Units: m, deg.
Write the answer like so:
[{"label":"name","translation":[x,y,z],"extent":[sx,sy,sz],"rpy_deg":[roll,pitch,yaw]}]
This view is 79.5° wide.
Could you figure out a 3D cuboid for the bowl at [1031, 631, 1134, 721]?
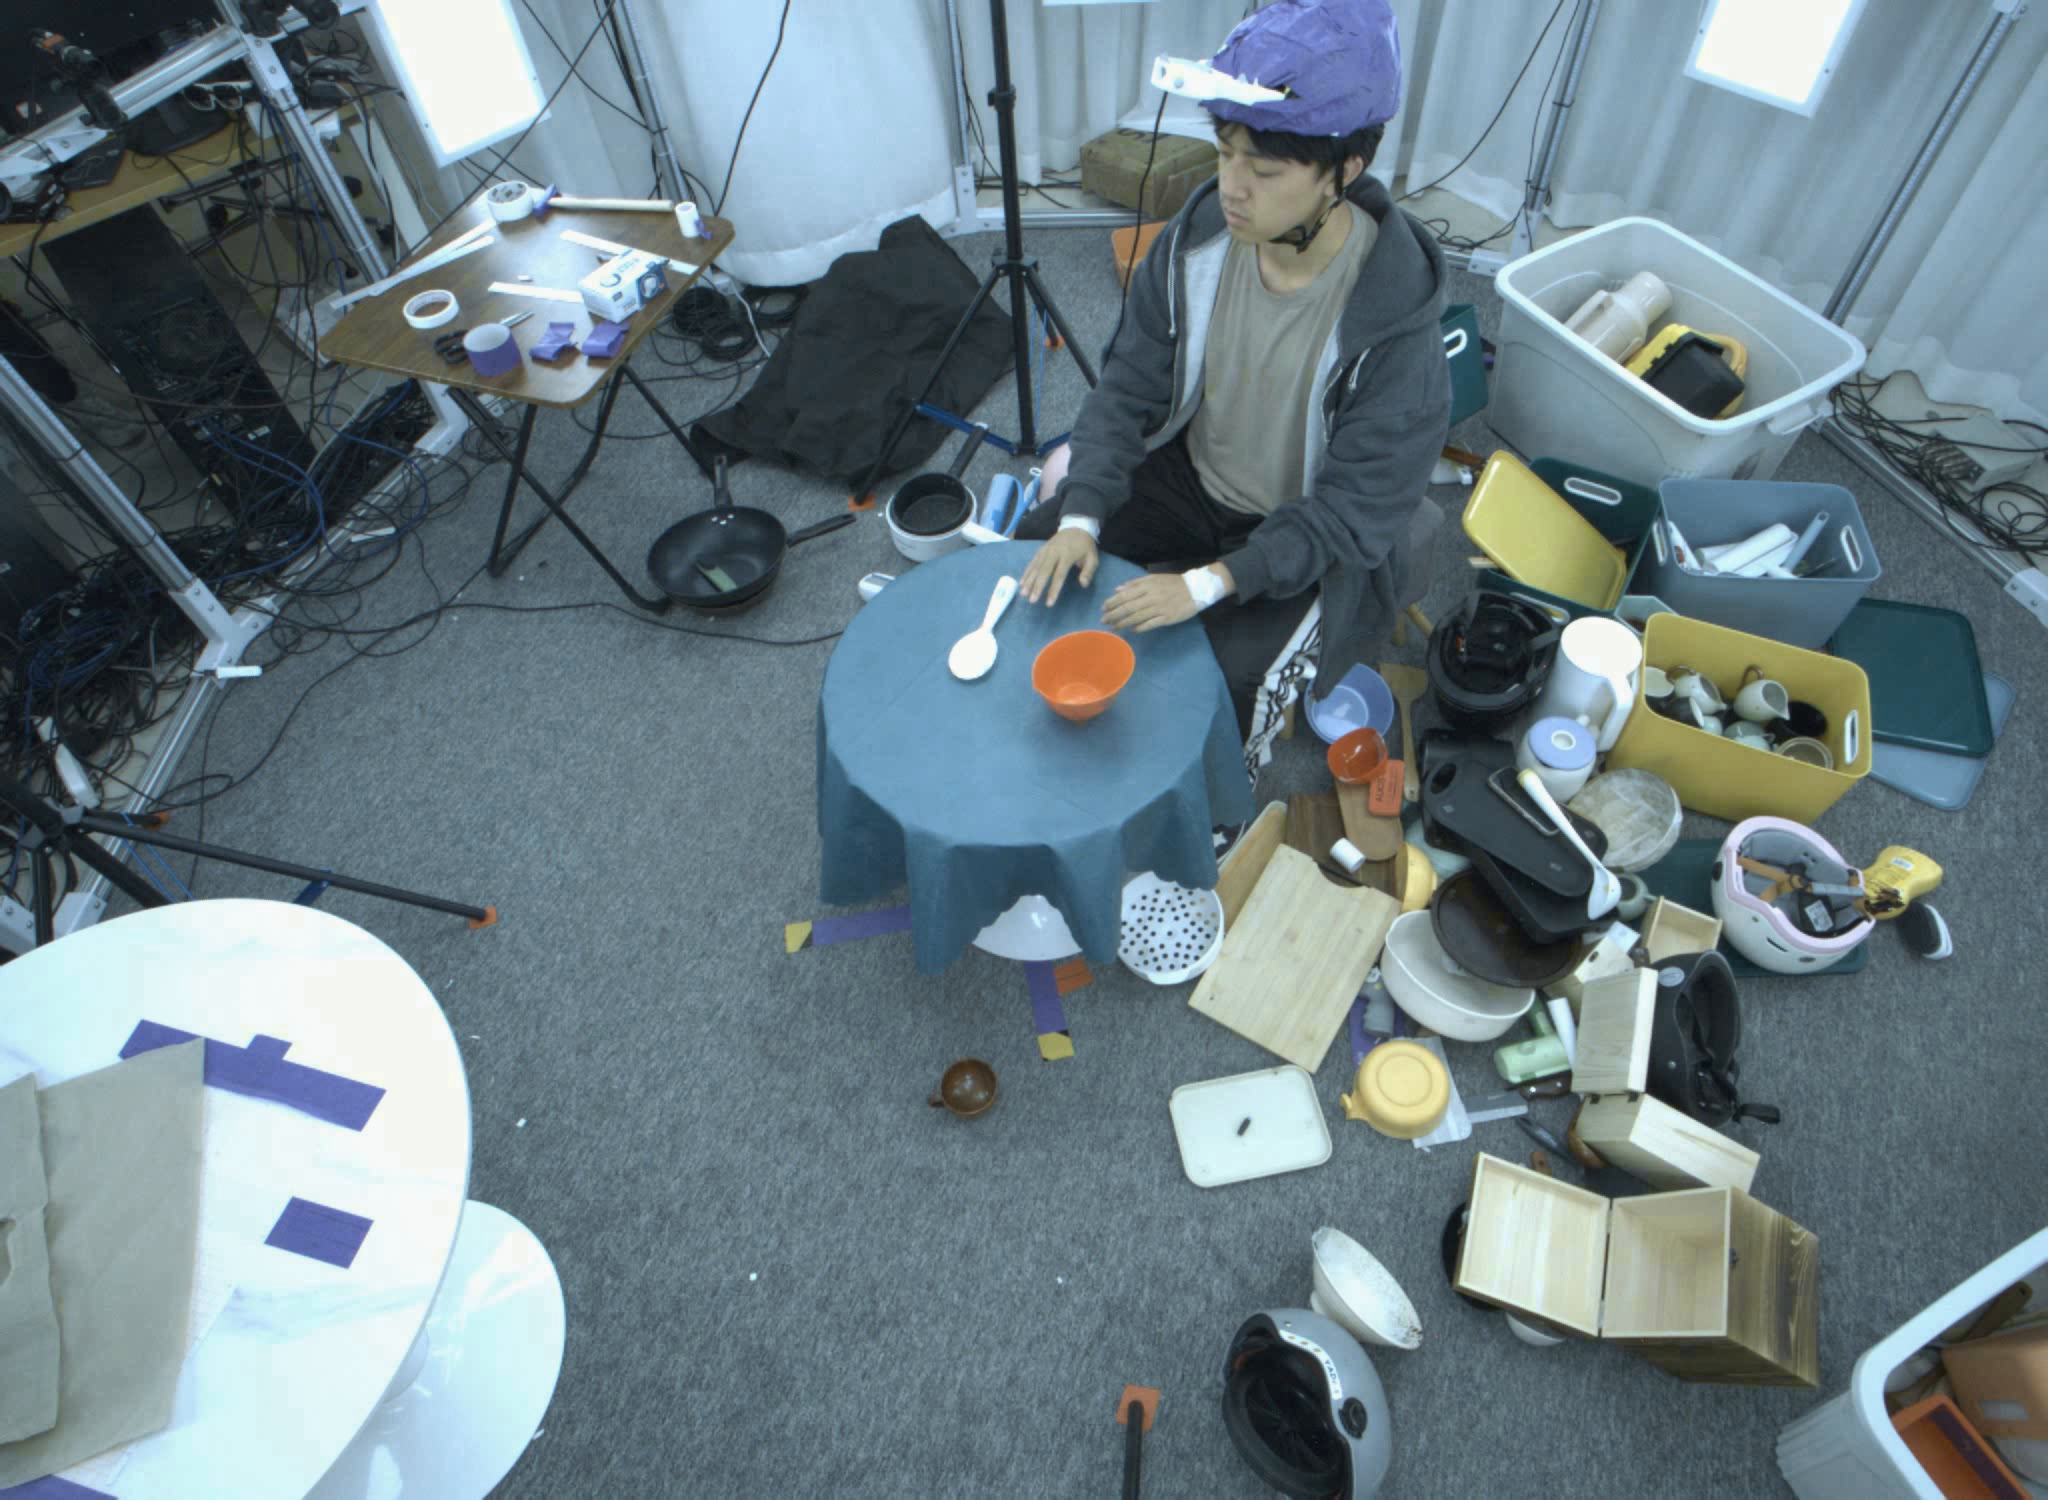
[{"label":"bowl","translation":[0.086,-0.094,1.792],"extent":[0.148,0.106,0.146],"rpy_deg":[-2,54,3]}]

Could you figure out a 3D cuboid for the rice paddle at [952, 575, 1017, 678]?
[{"label":"rice paddle","translation":[-0.057,-0.191,1.909],"extent":[0.068,0.030,0.205],"rpy_deg":[13,56,13]}]
